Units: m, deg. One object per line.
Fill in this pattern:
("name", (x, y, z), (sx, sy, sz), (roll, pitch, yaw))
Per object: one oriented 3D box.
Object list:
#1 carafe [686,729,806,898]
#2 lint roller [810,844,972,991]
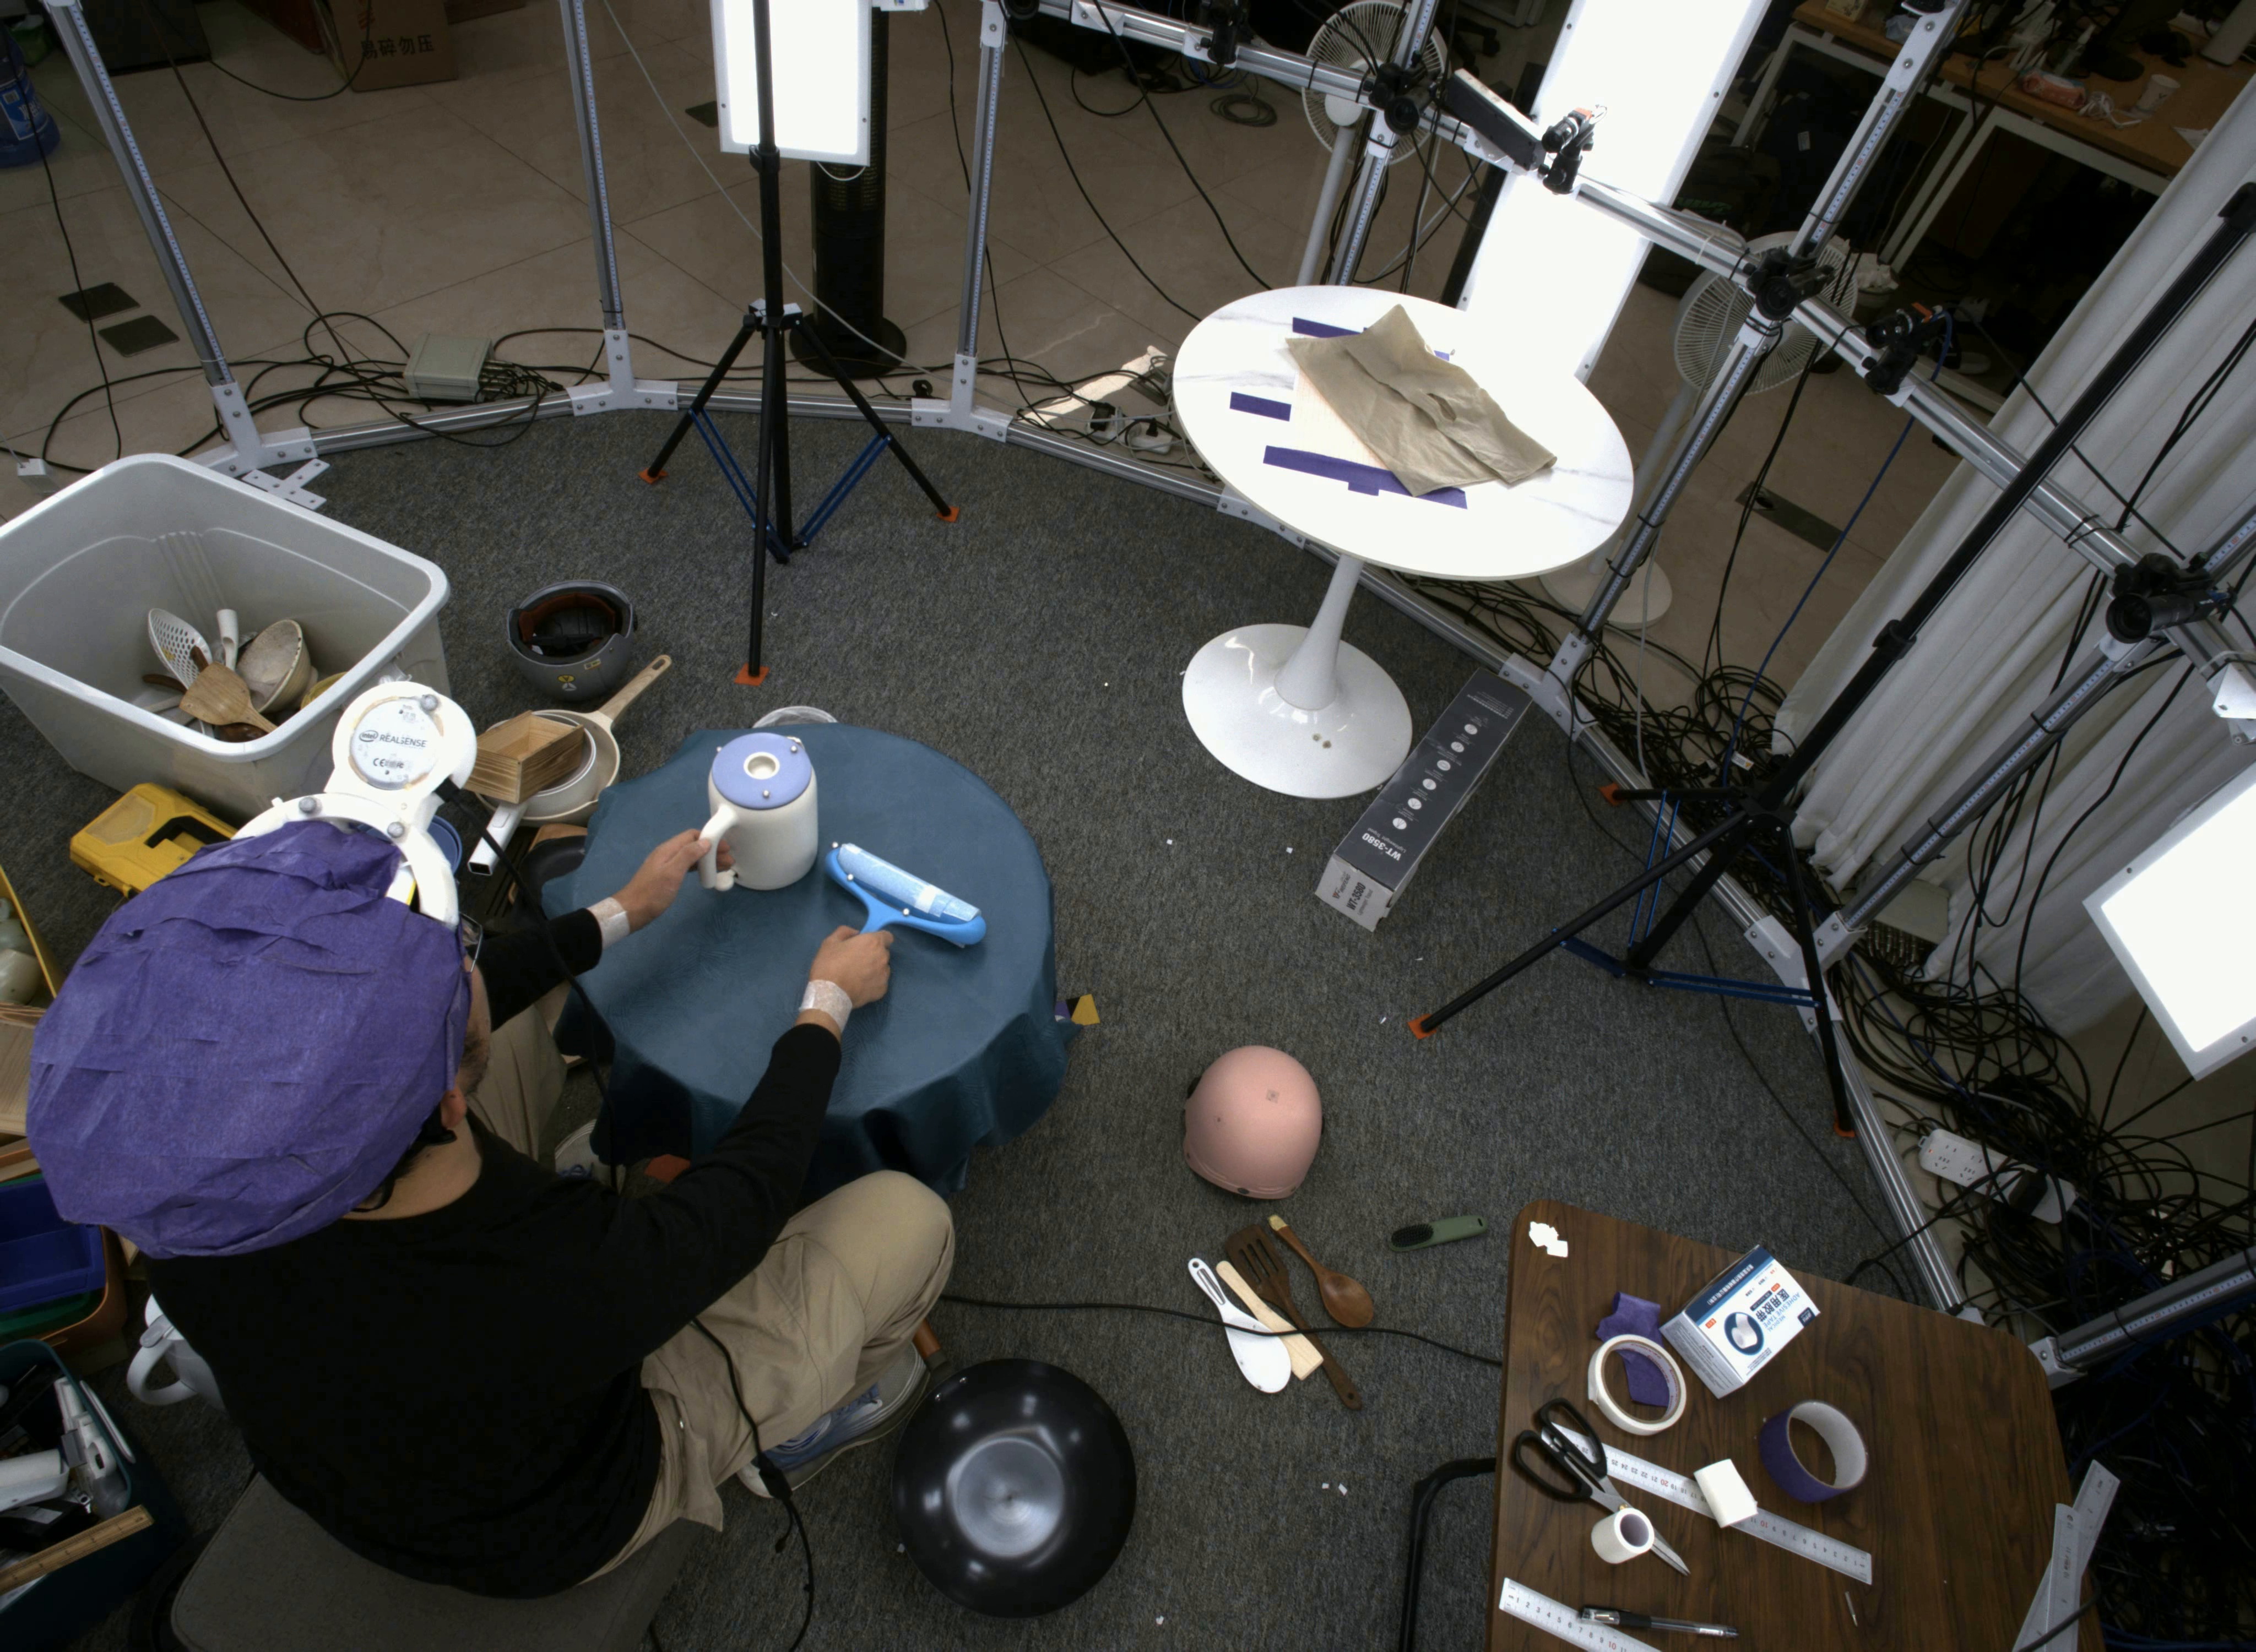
("carafe", (-0.482, -0.002, 1.594), (0.130, 0.186, 0.190), (26, 54, 9))
("lint roller", (-0.322, 0.123, 1.614), (0.227, 0.069, 0.179), (27, 45, 2))
